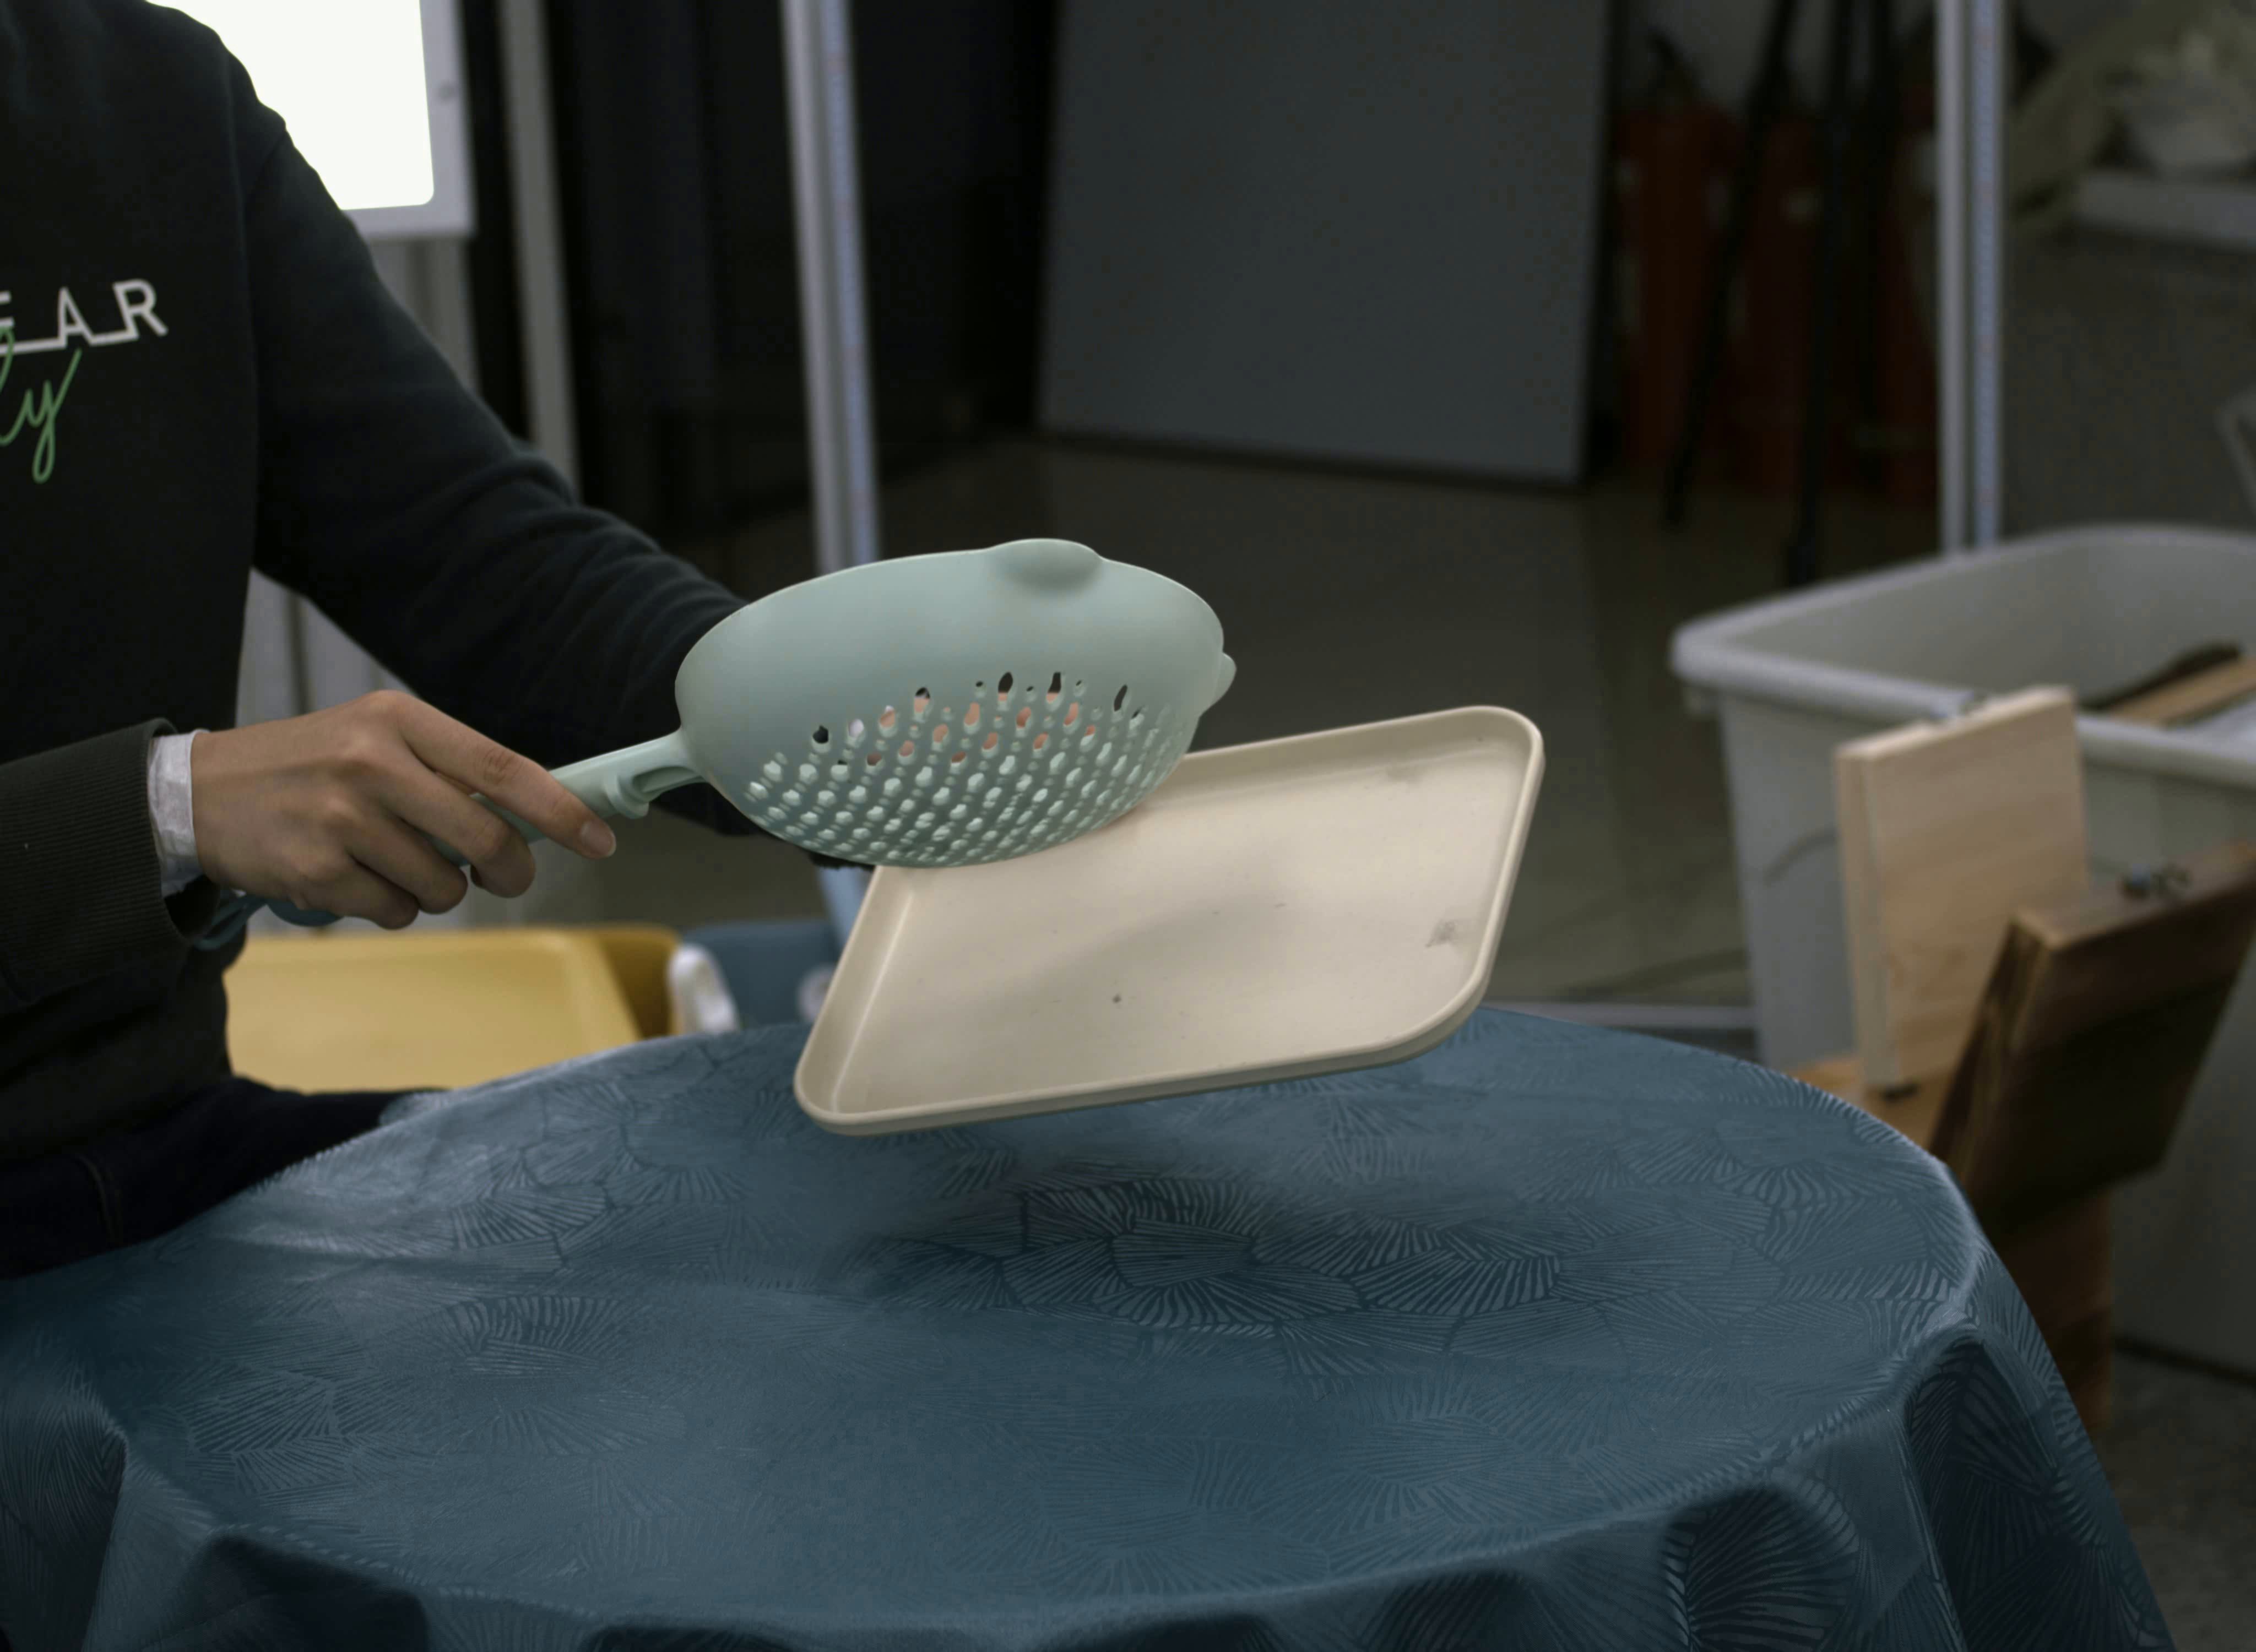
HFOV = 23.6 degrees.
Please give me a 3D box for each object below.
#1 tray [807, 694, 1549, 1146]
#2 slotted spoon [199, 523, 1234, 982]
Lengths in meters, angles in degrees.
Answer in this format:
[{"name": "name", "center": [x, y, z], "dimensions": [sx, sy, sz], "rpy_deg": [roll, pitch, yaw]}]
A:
[{"name": "tray", "center": [0.018, 0.032, 1.725], "dimensions": [0.240, 0.017, 0.171], "rpy_deg": [-11, 35, 24]}, {"name": "slotted spoon", "center": [-0.139, -0.012, 1.689], "dimensions": [0.359, 0.076, 0.167], "rpy_deg": [-9, -22, 25]}]
